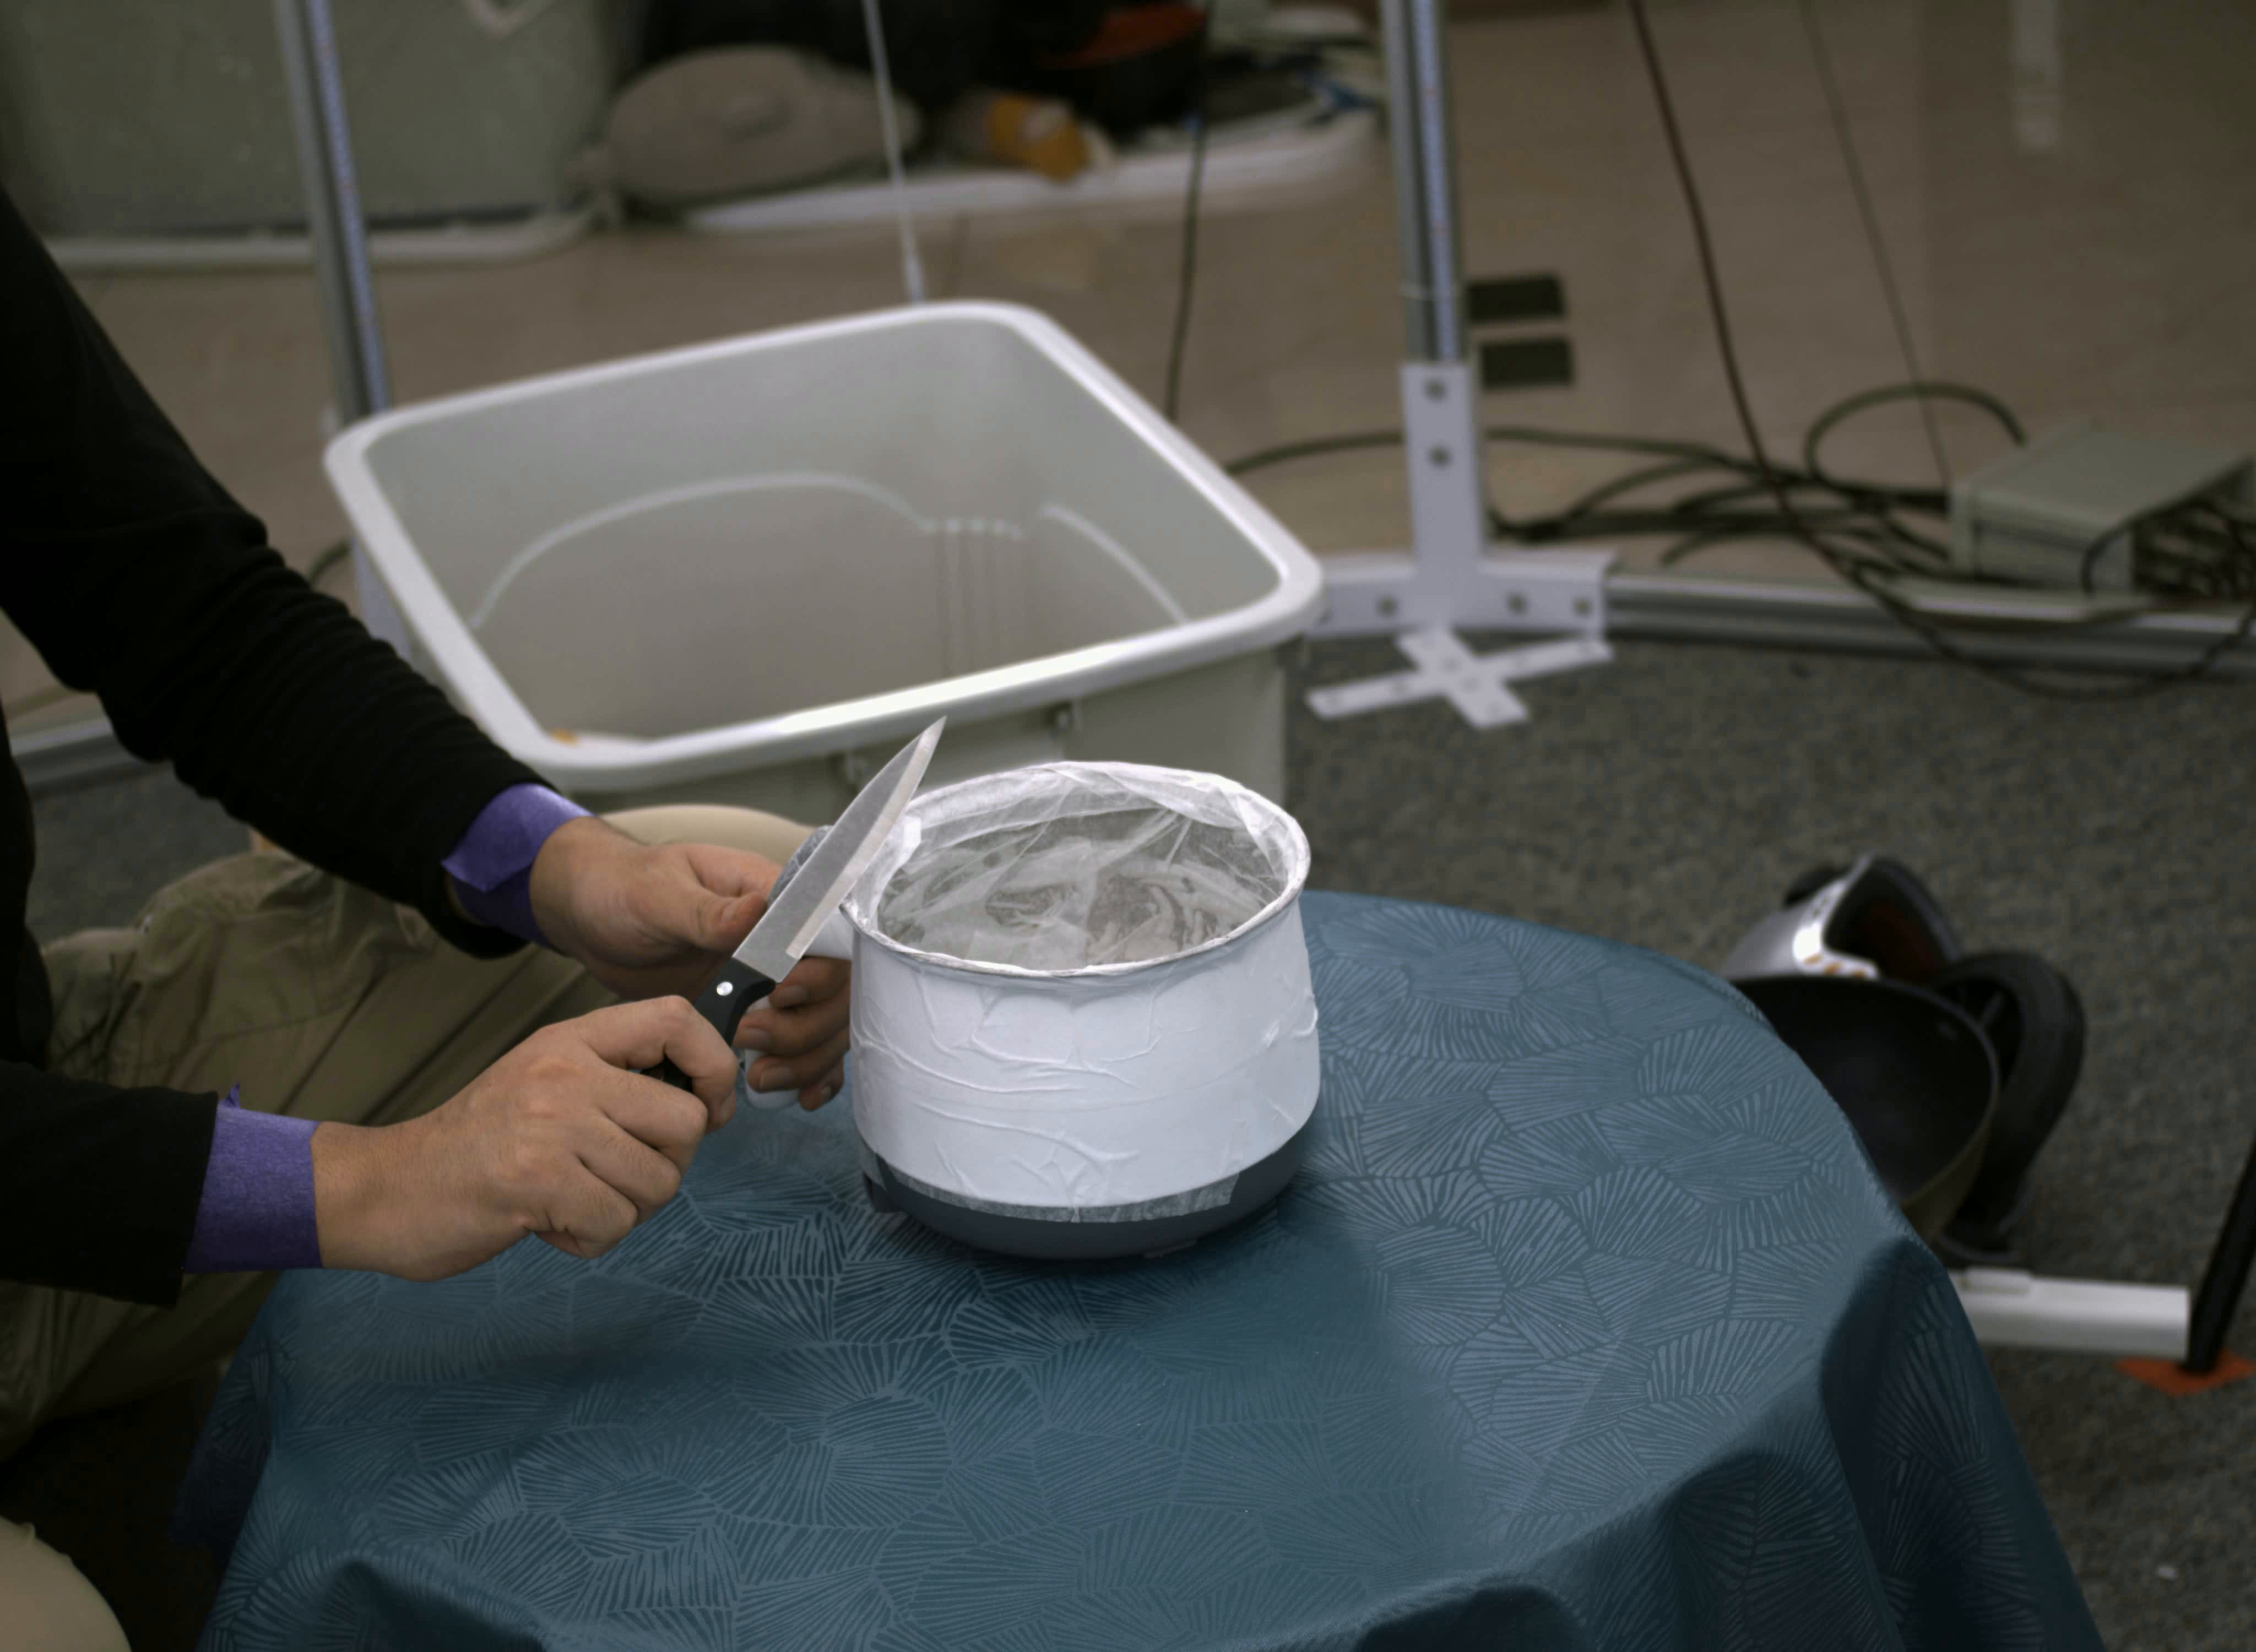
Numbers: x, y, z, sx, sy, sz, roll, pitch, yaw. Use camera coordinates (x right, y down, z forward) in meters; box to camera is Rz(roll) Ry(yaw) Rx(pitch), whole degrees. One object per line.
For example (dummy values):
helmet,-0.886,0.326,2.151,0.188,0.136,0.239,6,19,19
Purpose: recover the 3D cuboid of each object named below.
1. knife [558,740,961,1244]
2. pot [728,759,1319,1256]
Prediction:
knife,-0.134,0.056,2.067,0.024,0.016,0.236,32,72,19
pot,-0.043,0.067,2.136,0.233,0.139,0.176,6,27,17
